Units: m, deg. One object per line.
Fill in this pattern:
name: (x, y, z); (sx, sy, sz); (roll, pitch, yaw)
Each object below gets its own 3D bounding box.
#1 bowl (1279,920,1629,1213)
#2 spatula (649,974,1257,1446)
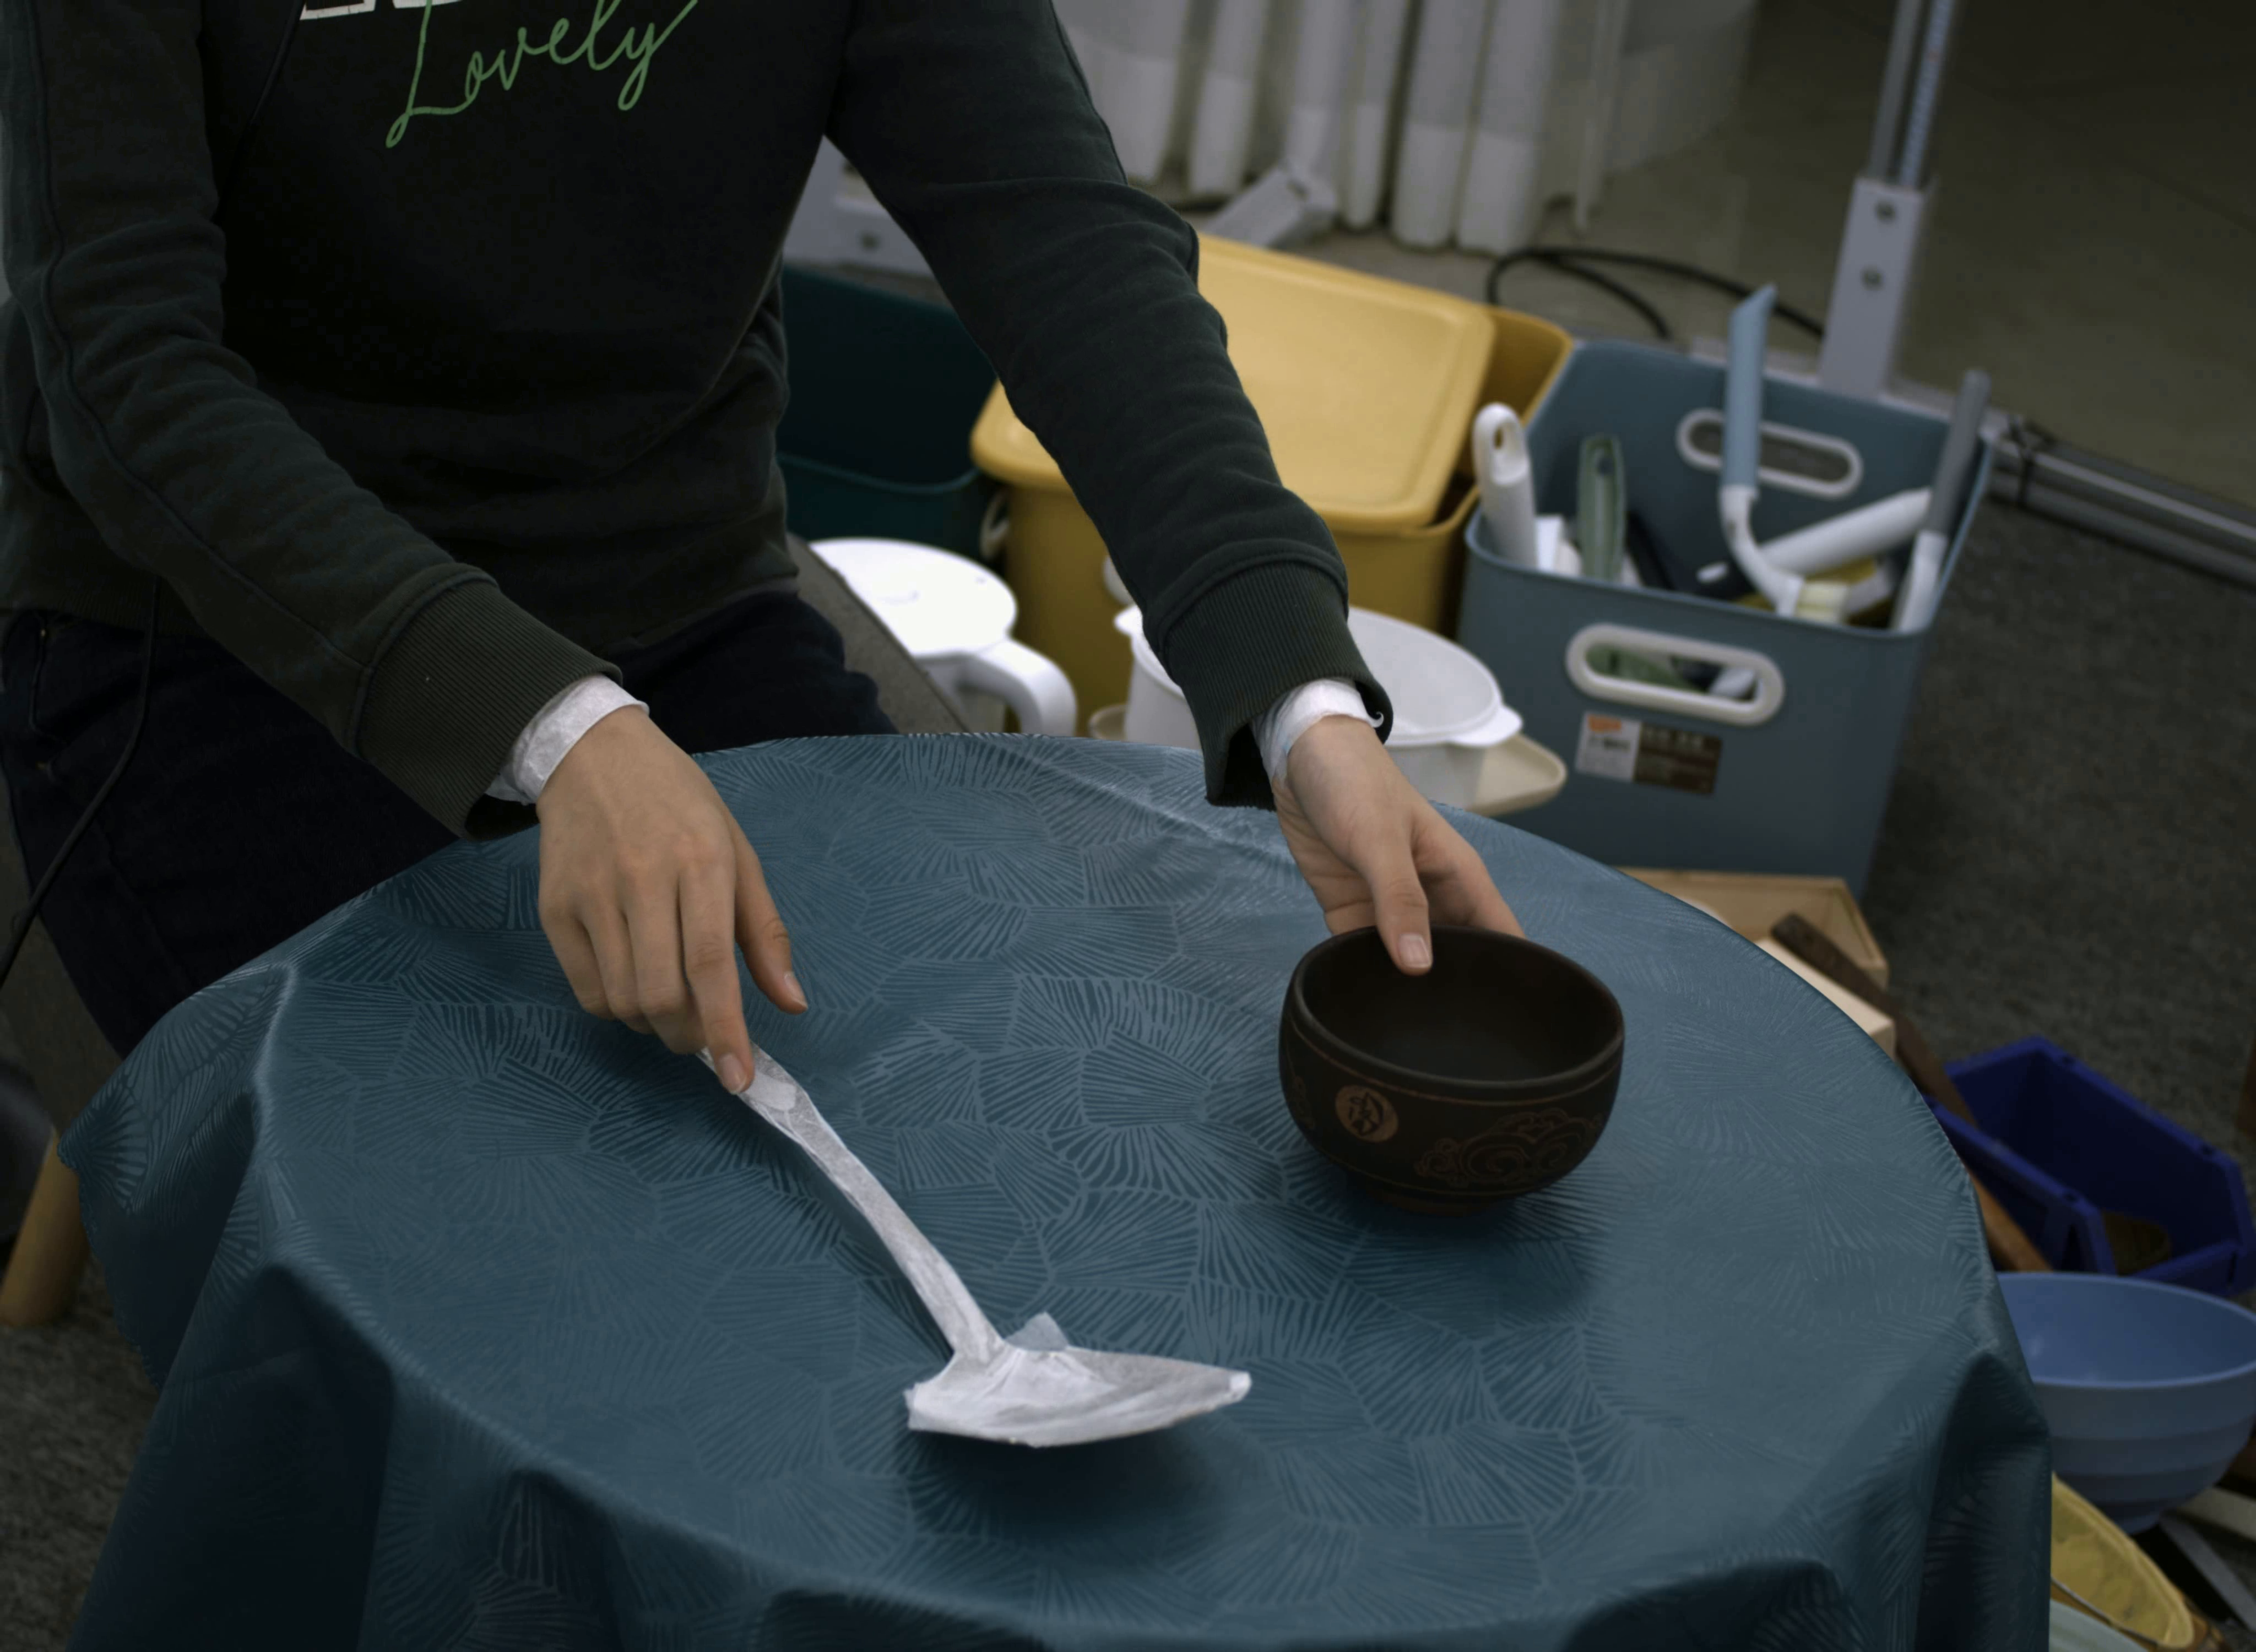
bowl: (0.108, 0.088, 1.816); (0.117, 0.069, 0.119); (6, 25, -3)
spatula: (-0.082, 0.118, 1.750); (0.098, 0.044, 0.368); (-11, 32, -27)
